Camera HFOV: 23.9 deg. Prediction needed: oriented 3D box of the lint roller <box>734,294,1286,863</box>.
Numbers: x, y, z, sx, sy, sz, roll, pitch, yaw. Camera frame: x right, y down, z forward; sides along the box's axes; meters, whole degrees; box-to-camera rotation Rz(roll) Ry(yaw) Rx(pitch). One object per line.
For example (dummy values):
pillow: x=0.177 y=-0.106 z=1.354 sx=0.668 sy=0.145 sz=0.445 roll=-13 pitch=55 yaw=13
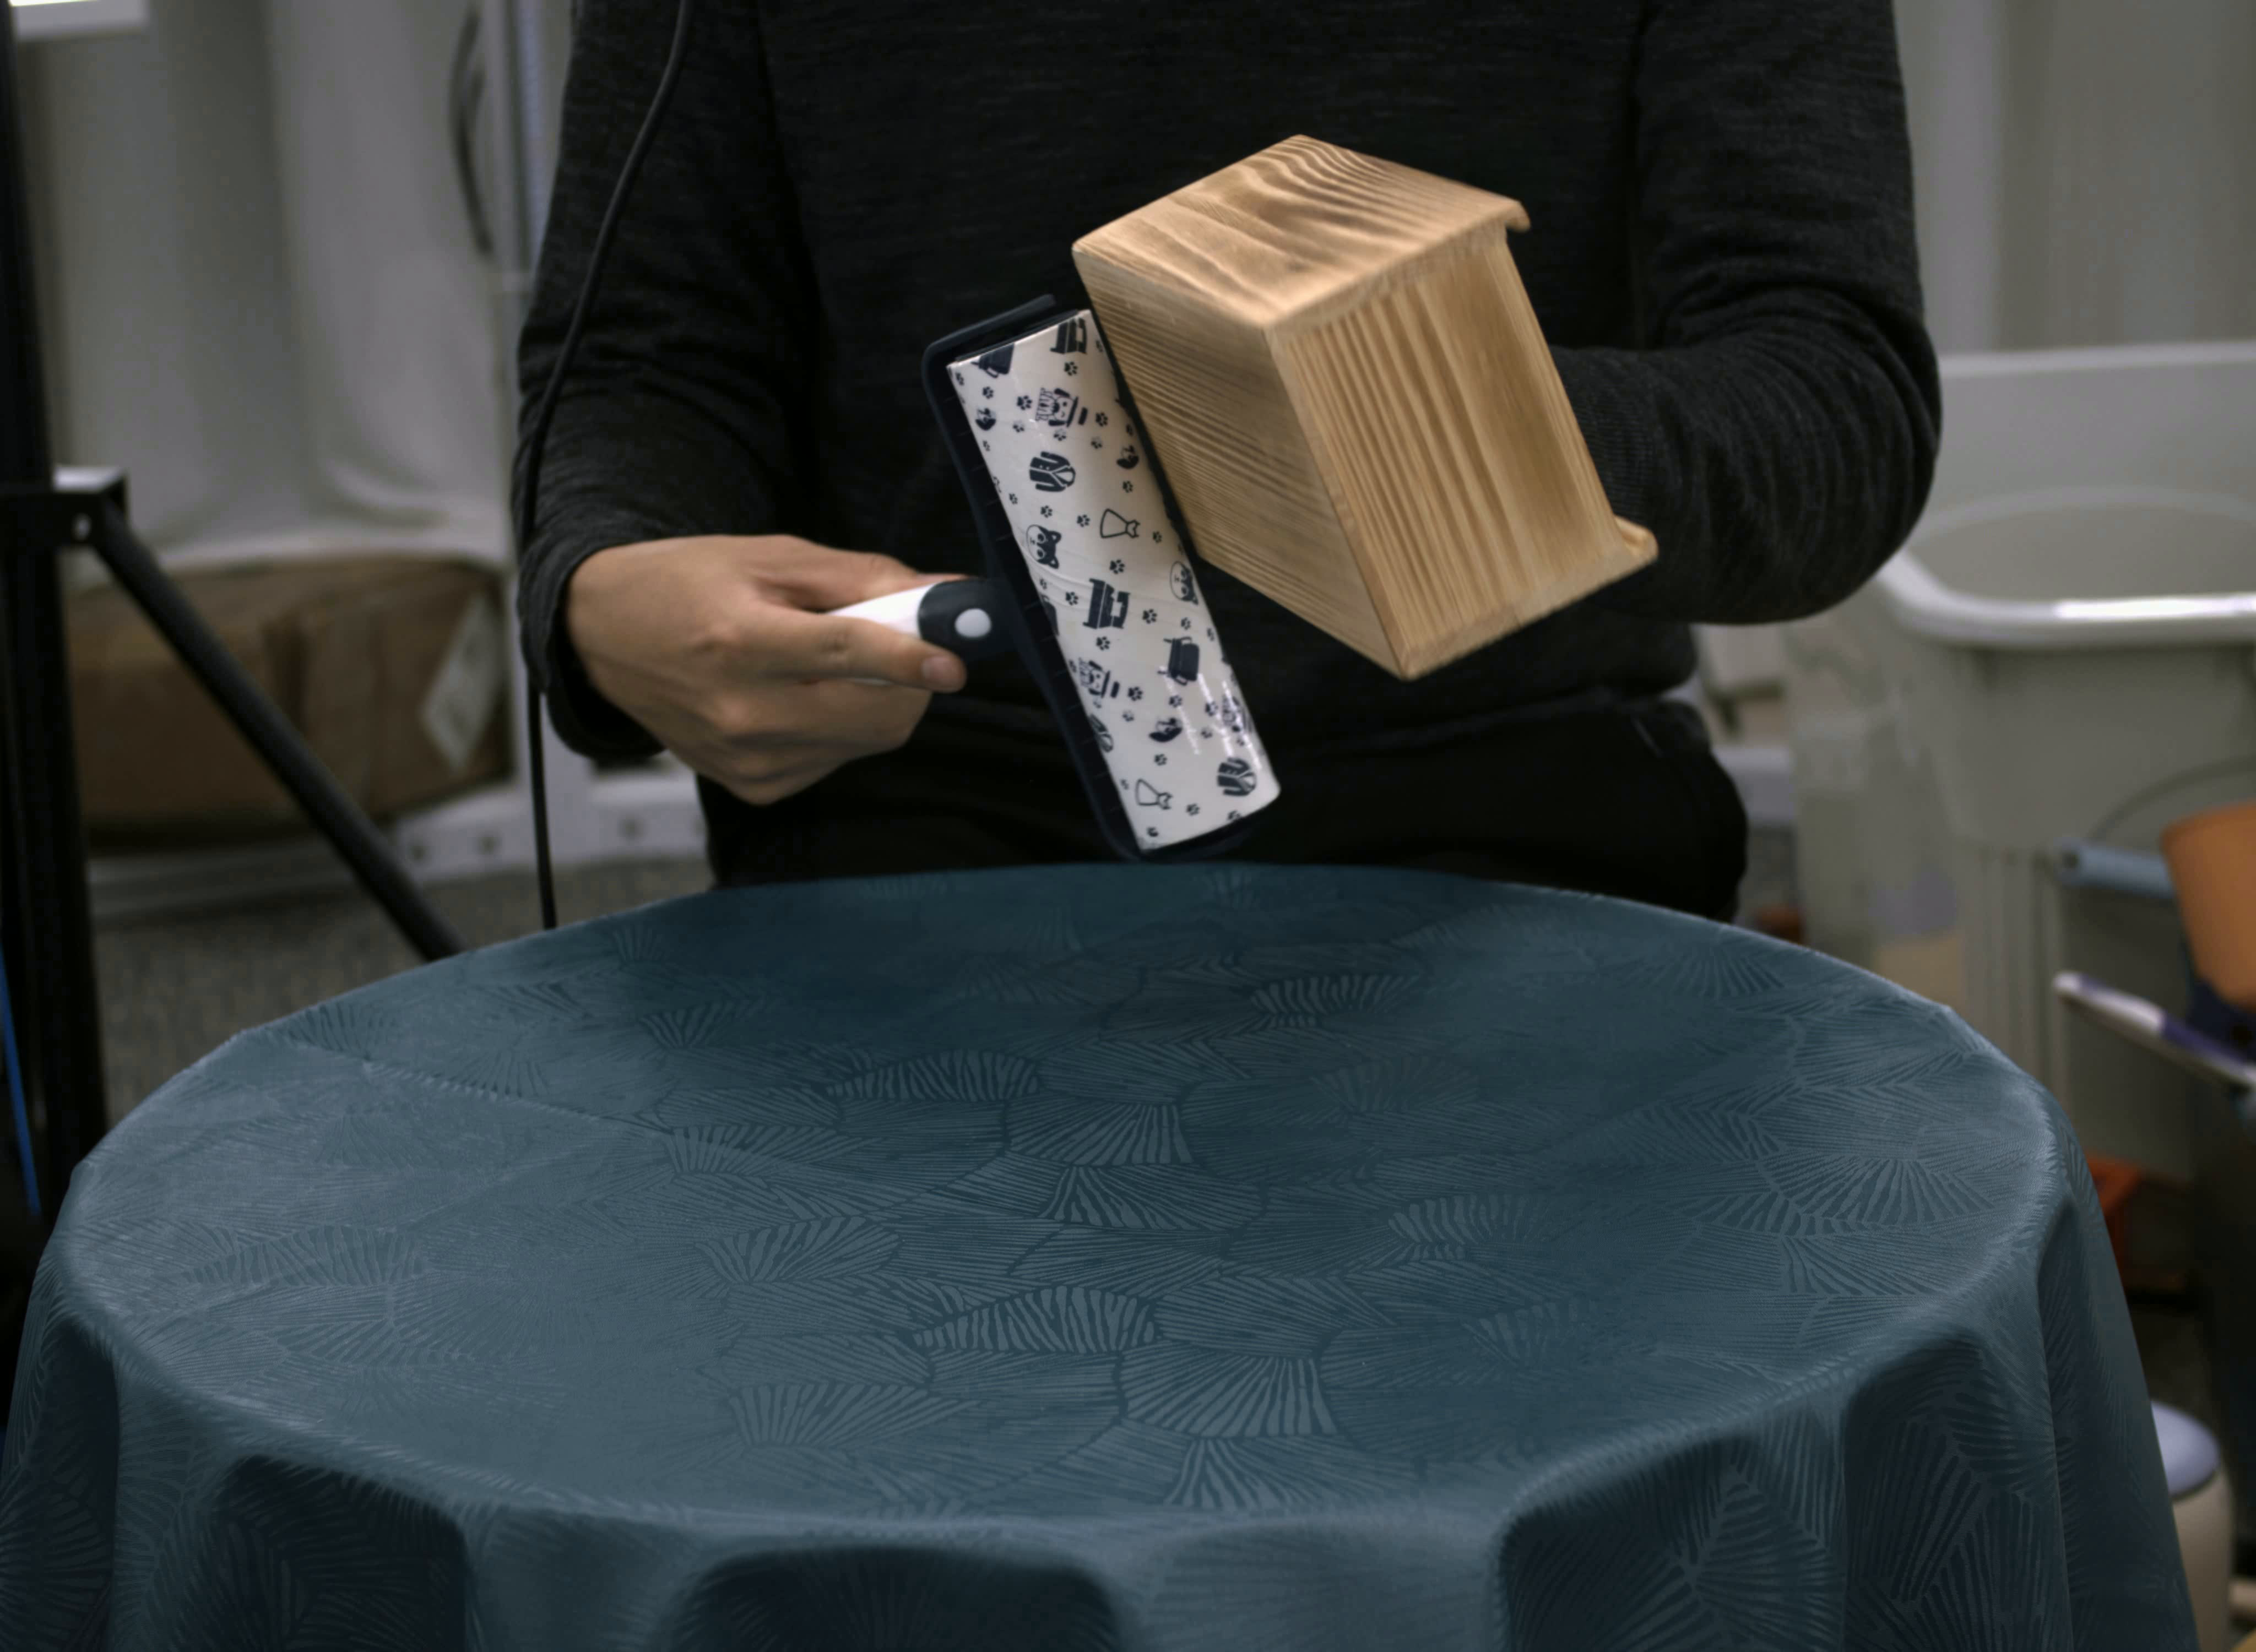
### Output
lint roller: x=-0.061 y=-0.060 z=1.695 sx=0.049 sy=0.176 sz=0.251 roll=-28 pitch=7 yaw=-35

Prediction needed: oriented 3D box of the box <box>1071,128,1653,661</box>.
box: x=0.062 y=-0.126 z=1.504 sx=0.079 sy=0.107 sz=0.214 roll=-25 pitch=16 yaw=-9
